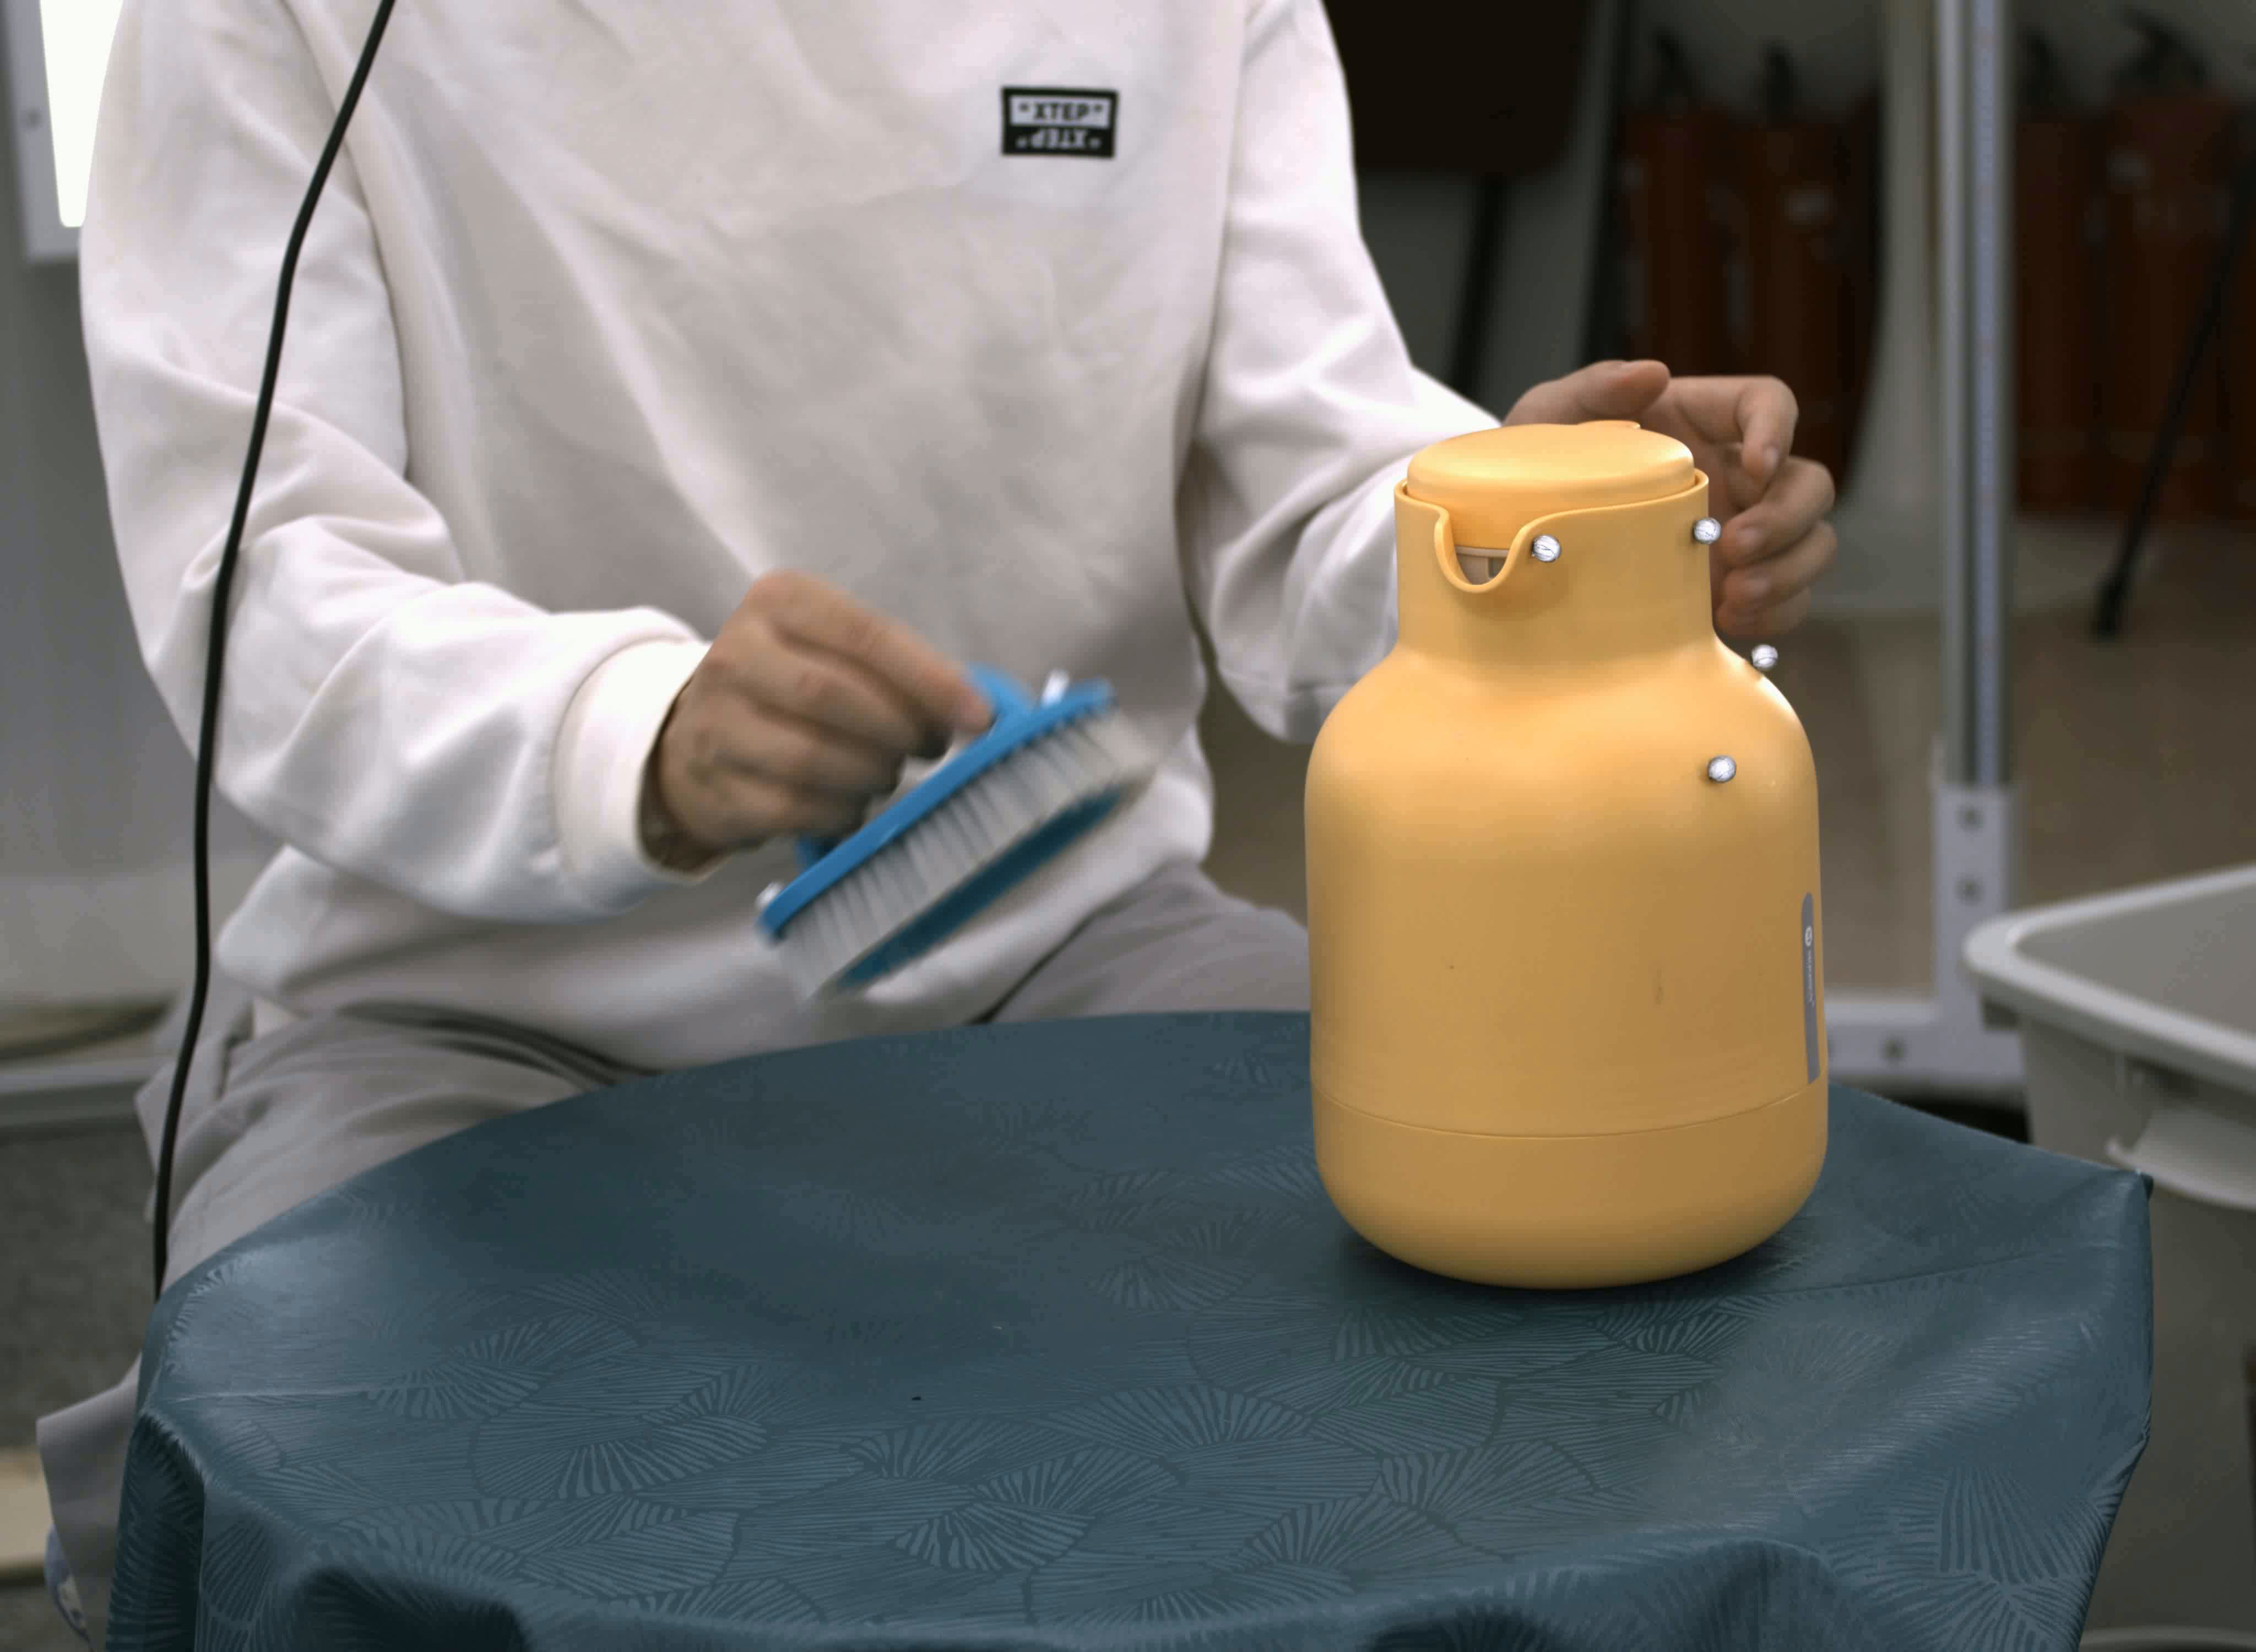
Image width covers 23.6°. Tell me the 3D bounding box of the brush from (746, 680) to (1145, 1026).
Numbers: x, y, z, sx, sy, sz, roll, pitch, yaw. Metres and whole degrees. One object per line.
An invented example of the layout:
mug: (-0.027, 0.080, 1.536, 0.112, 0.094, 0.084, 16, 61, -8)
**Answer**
brush: (-0.066, 0.000, 1.664, 0.143, 0.064, 0.083, -37, -8, 27)

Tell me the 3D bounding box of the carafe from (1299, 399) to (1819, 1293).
carafe: (0.142, -0.001, 1.686, 0.163, 0.263, 0.200, 5, 16, 25)
